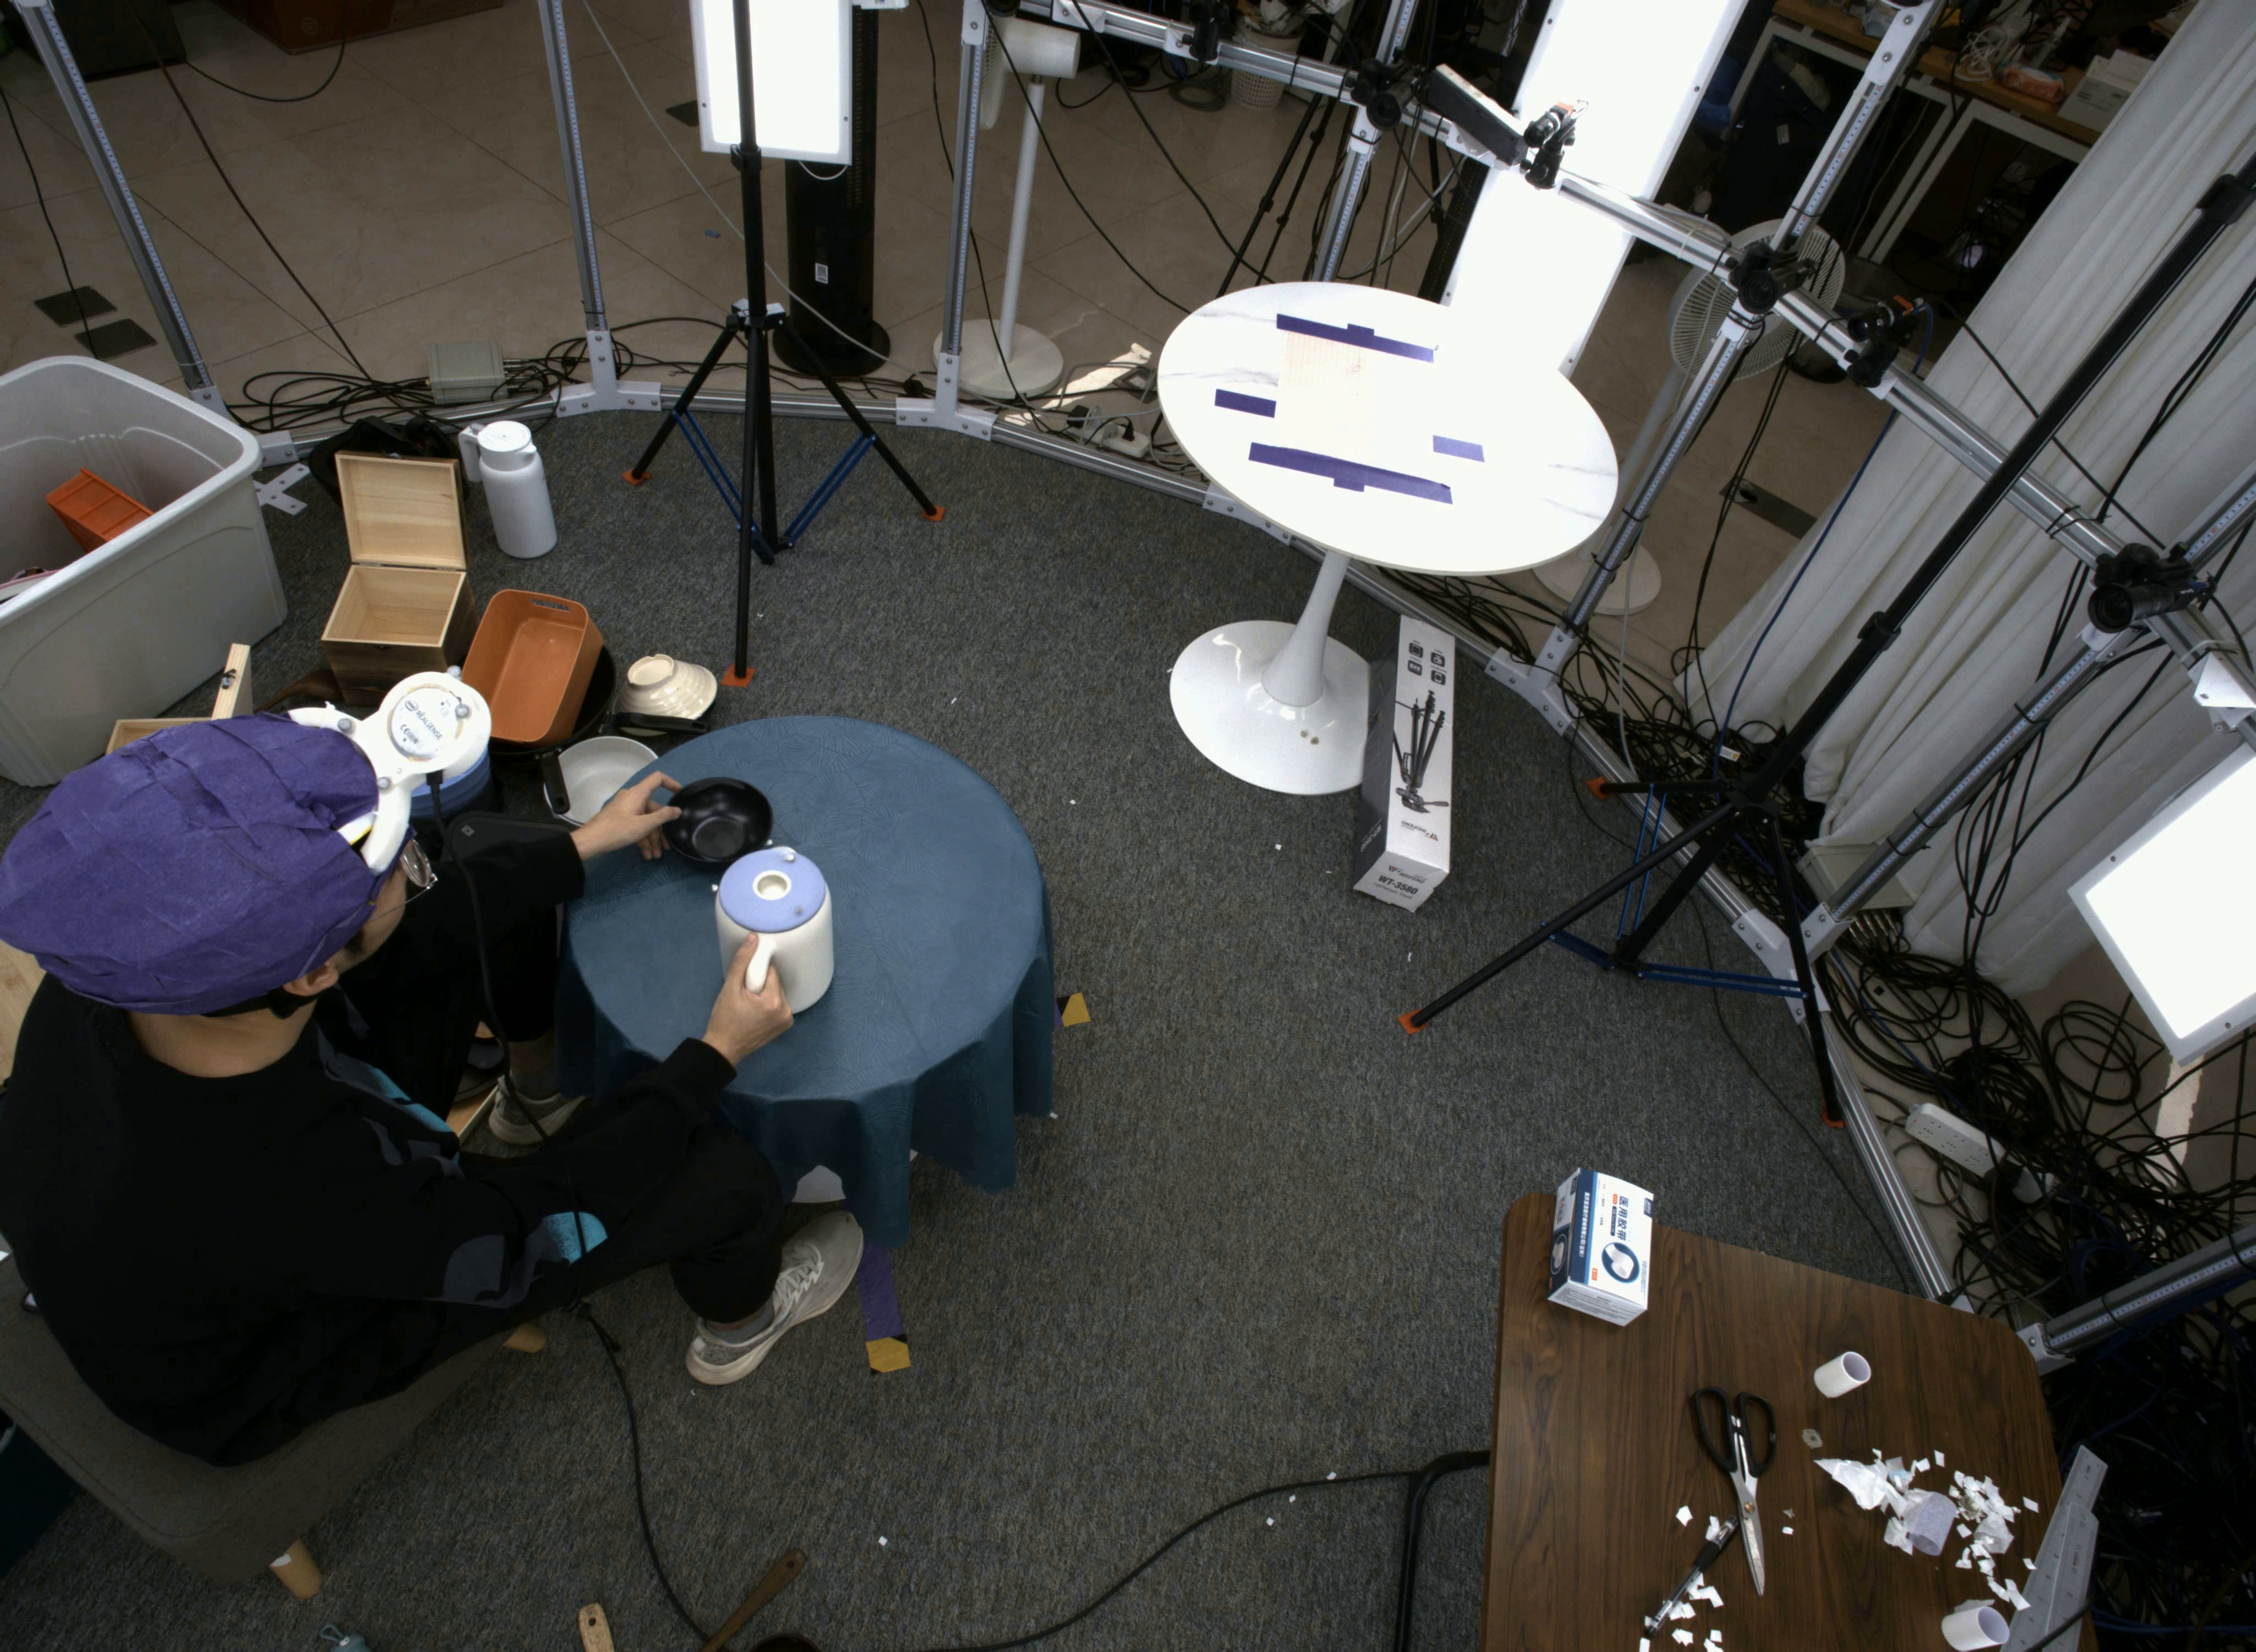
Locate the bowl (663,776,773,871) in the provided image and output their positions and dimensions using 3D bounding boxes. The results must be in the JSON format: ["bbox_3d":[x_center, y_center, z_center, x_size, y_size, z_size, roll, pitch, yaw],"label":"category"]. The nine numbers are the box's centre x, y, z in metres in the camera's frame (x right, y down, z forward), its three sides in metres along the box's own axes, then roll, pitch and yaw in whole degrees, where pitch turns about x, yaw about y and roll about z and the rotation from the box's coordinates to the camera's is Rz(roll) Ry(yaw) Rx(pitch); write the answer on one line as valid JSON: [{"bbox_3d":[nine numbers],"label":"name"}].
[{"bbox_3d":[-0.528,0.004,1.668,0.140,0.051,0.137,7,55,-9],"label":"bowl"}]

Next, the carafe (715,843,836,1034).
[{"bbox_3d":[-0.414,0.143,1.512,0.132,0.187,0.187,5,52,-6],"label":"carafe"}]
